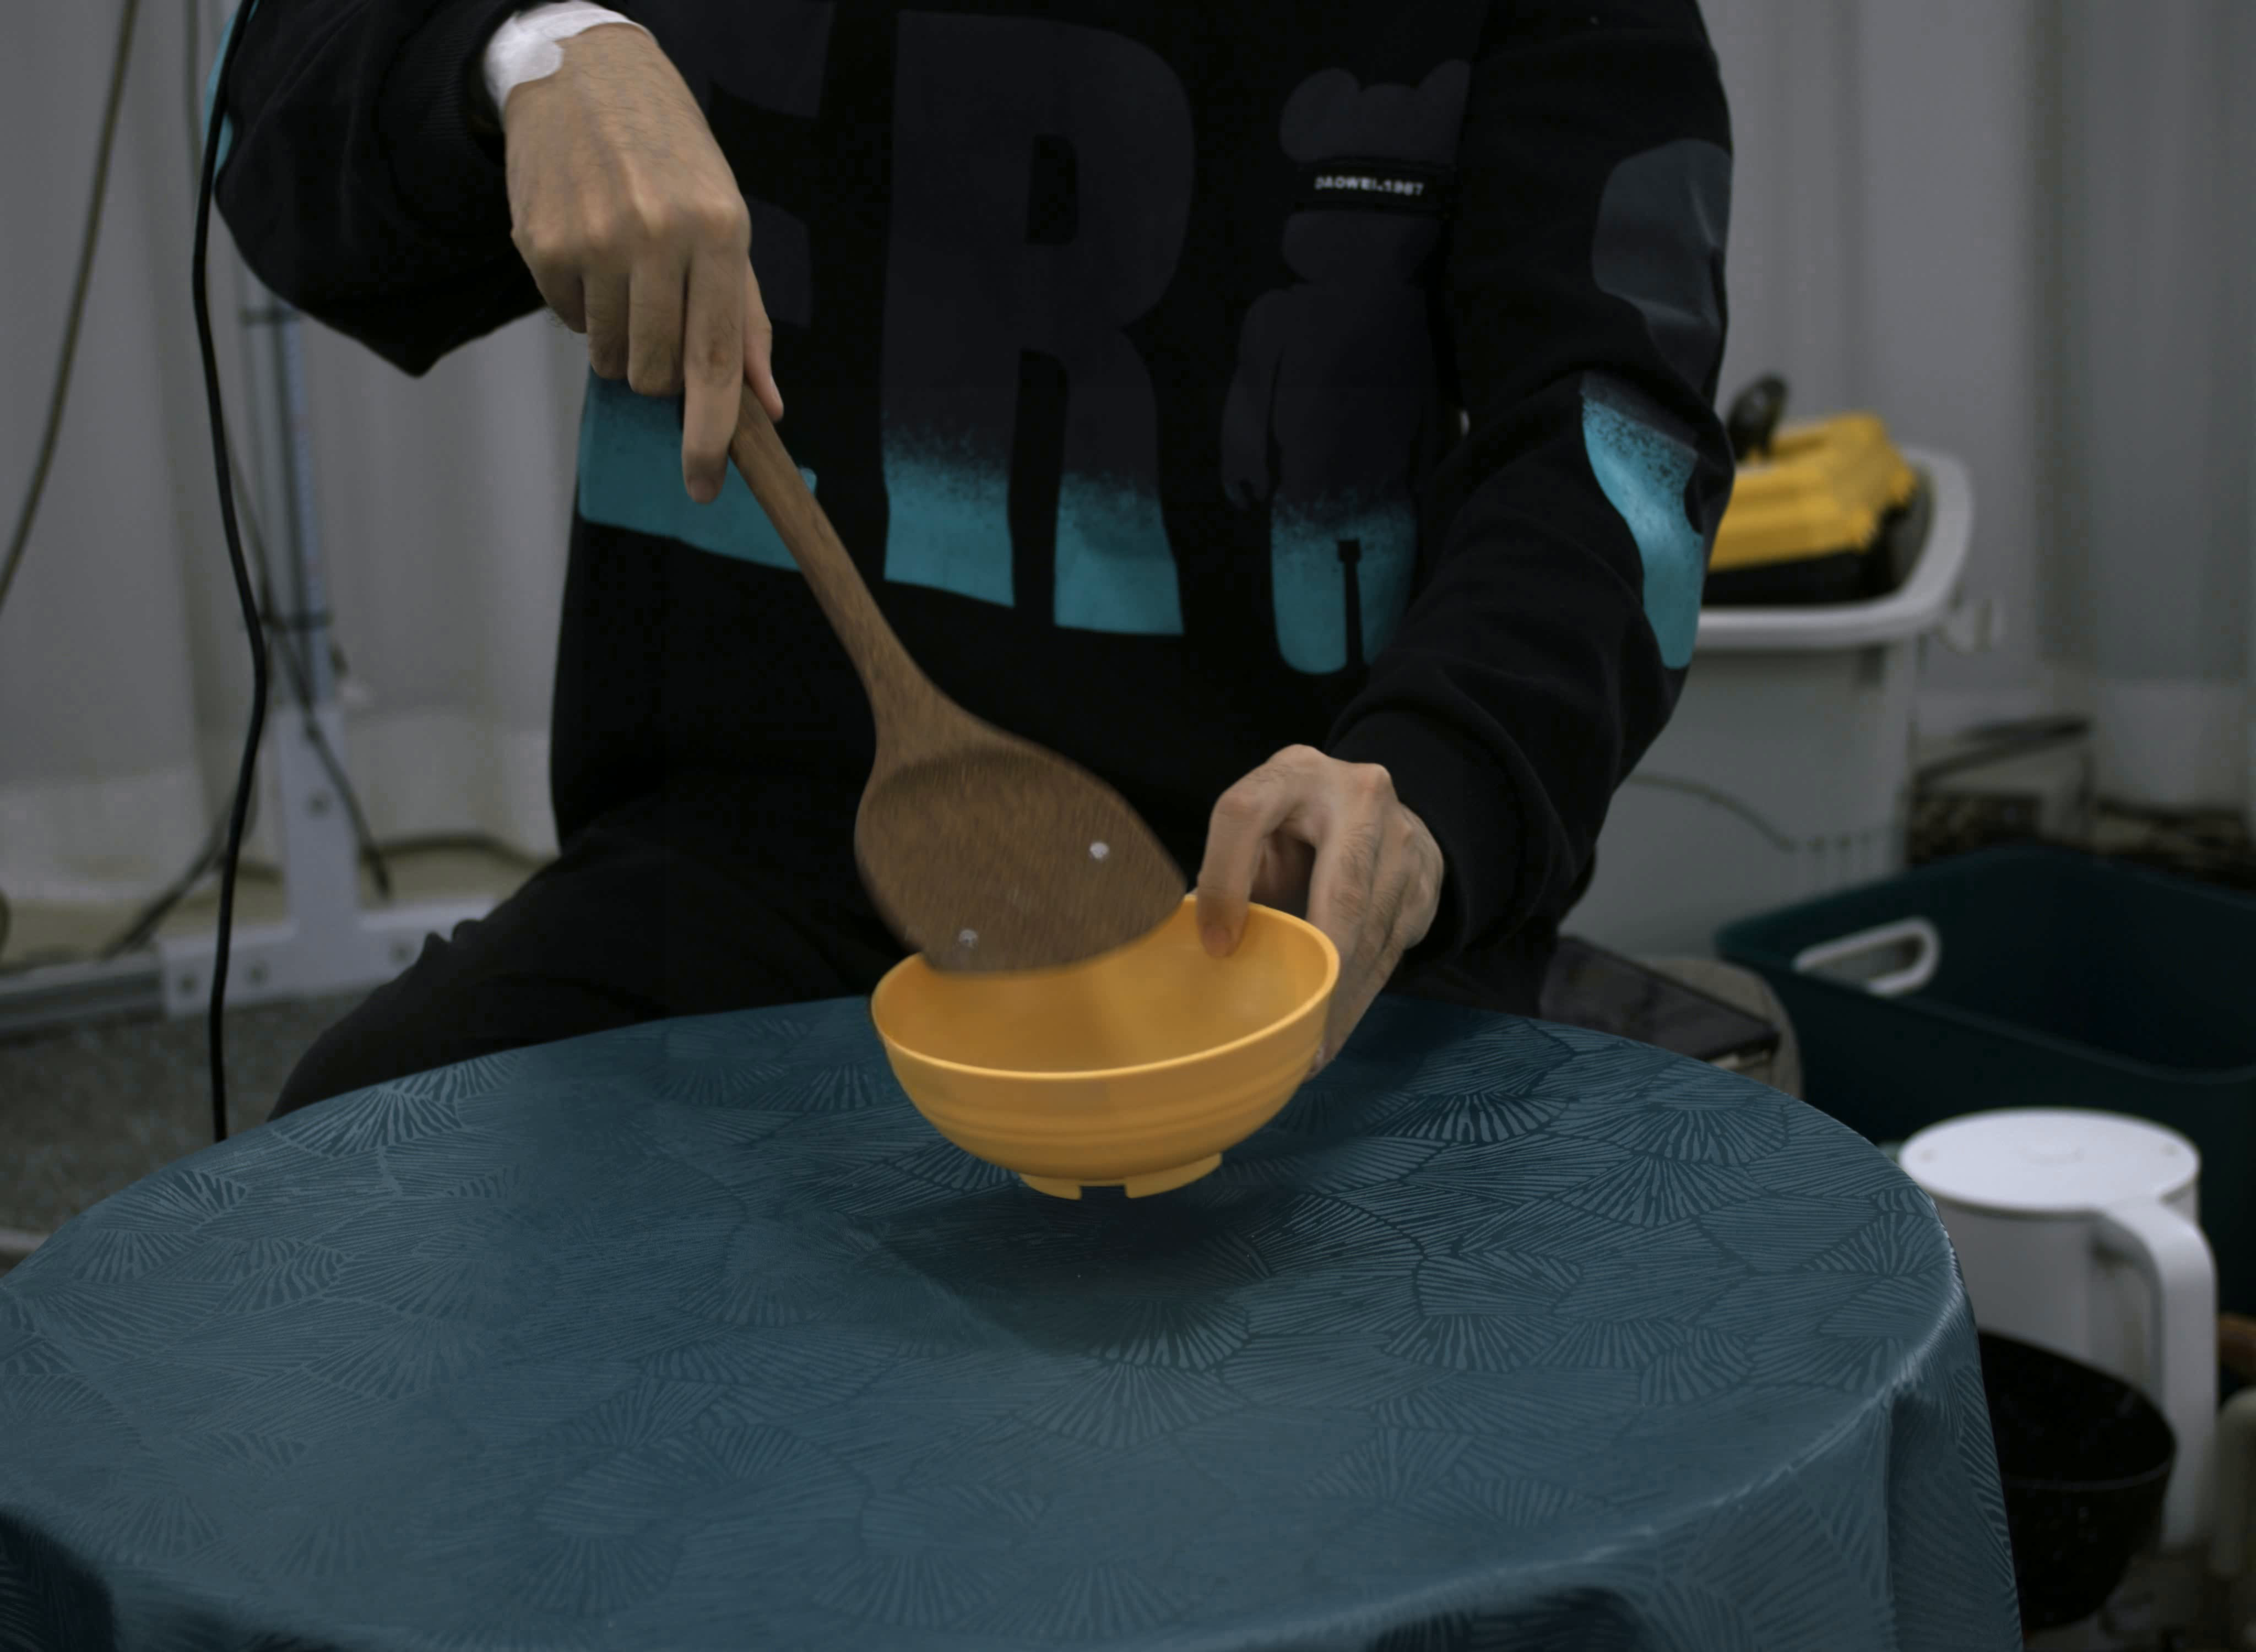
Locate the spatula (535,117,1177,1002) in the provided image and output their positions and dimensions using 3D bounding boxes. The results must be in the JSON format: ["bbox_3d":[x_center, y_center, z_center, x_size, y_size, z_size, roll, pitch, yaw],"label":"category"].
[{"bbox_3d":[-0.105,-0.095,1.749,0.096,0.015,0.391,-14,56,-28],"label":"spatula"}]

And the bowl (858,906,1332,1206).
[{"bbox_3d":[-0.008,0.076,1.668,0.145,0.060,0.146,-3,18,1],"label":"bowl"}]
